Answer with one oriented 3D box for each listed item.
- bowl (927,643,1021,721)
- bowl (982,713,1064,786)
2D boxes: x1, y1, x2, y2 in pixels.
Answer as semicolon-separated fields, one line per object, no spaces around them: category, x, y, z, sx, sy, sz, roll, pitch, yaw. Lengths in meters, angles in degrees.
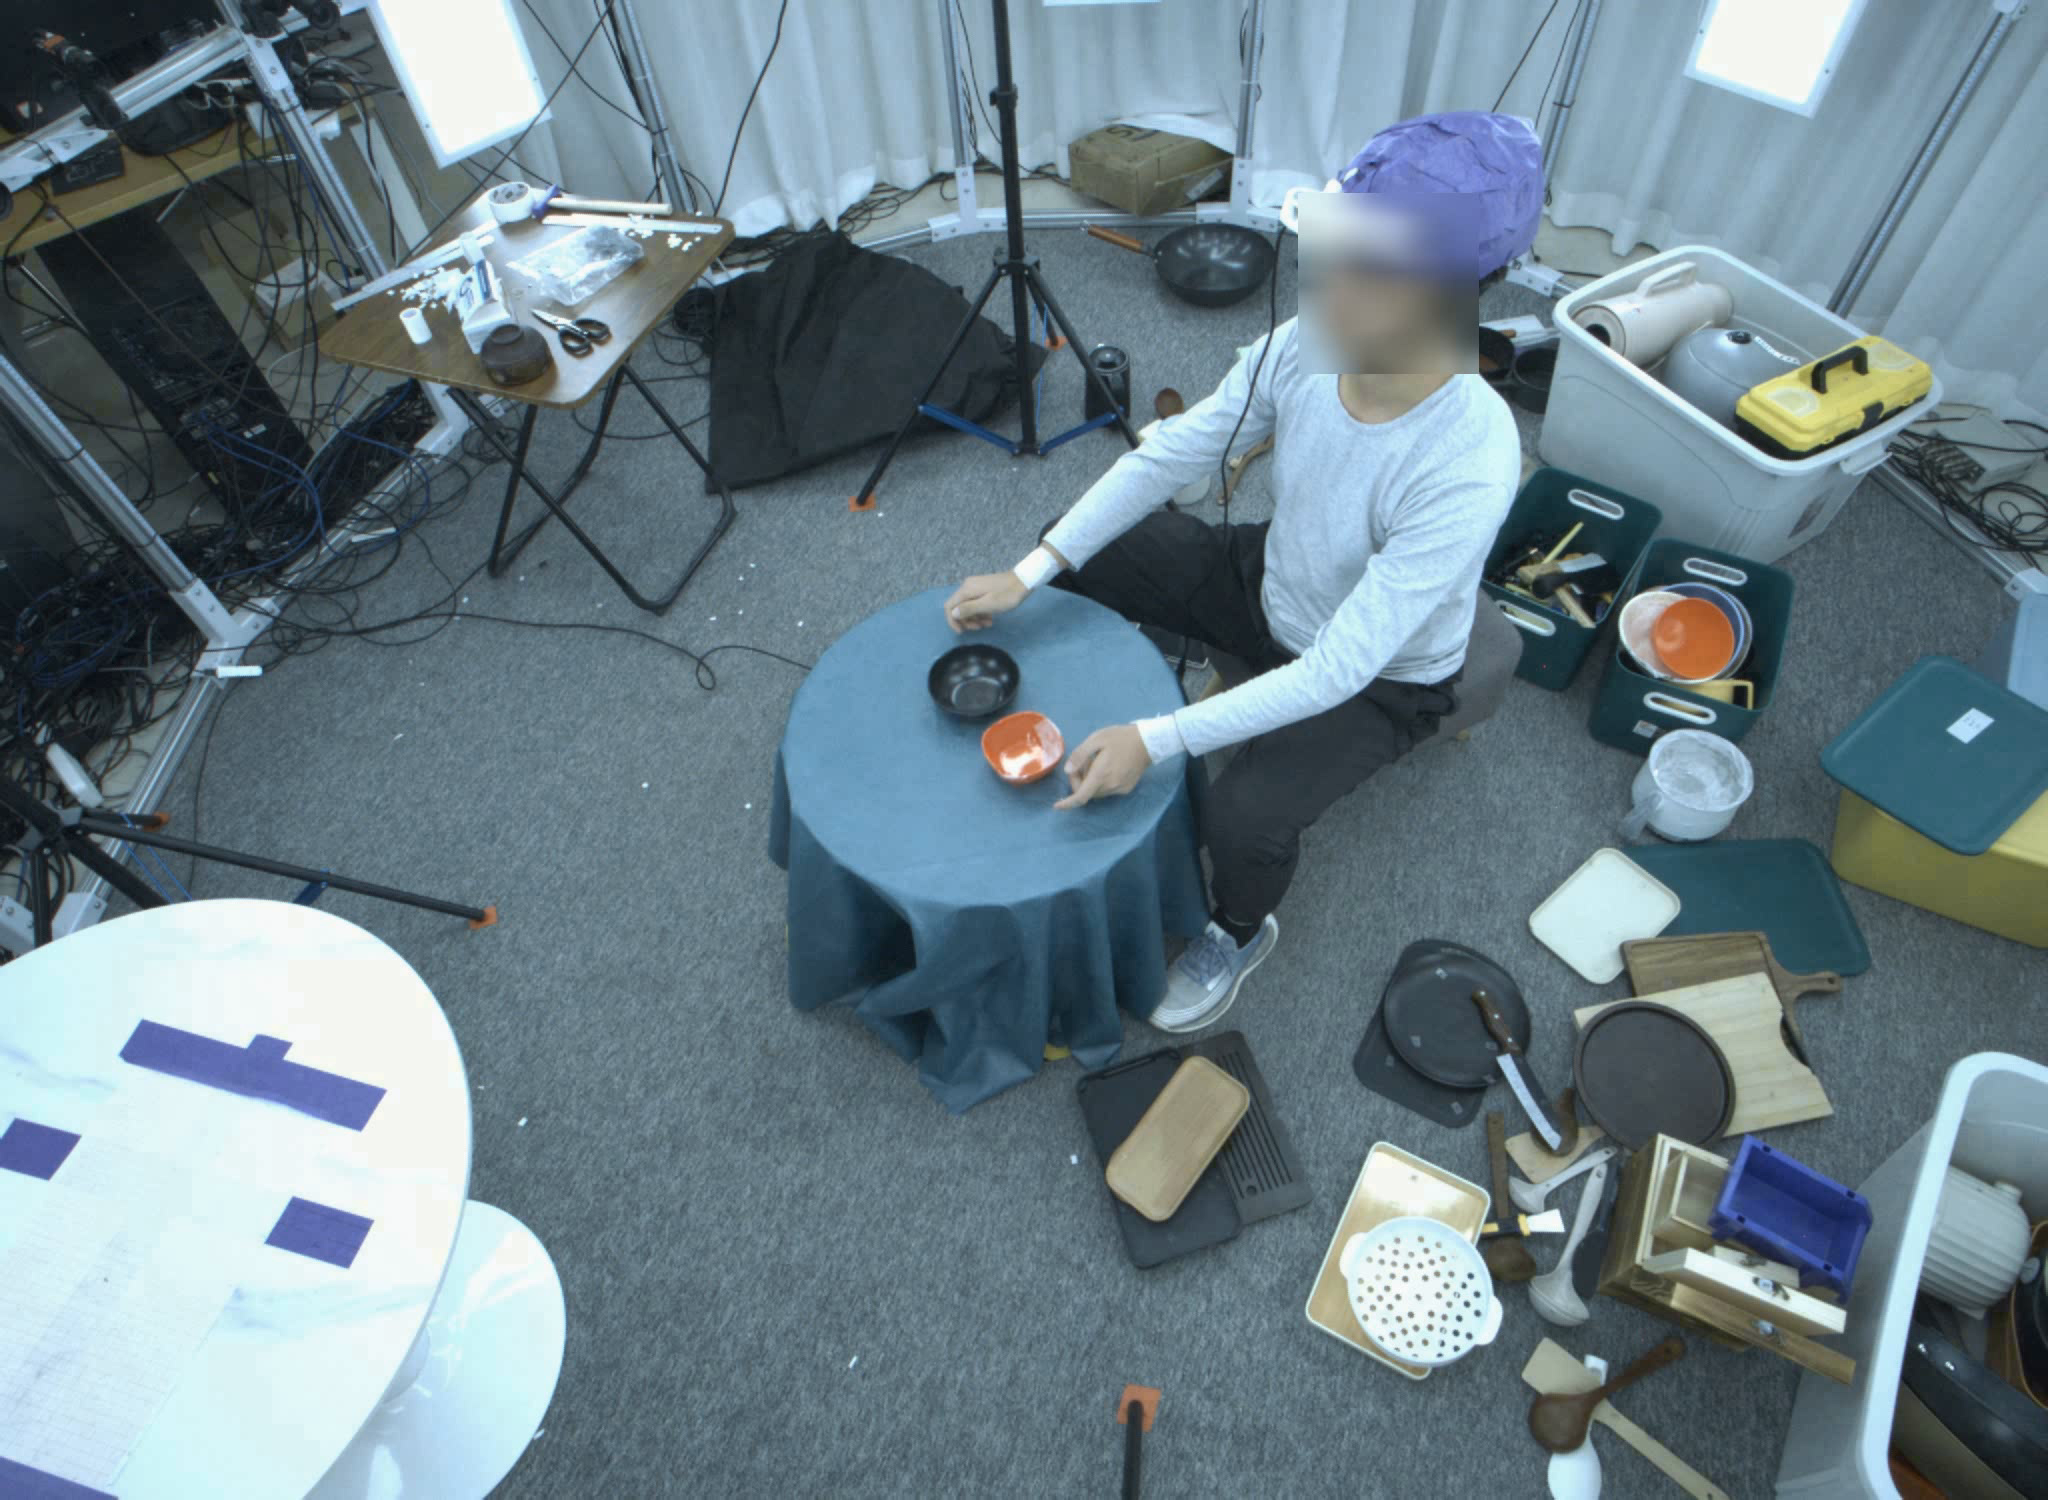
bowl;-0.074;-0.092;1.834;0.140;0.050;0.138;1;53;0
bowl;0.000;0.007;1.758;0.119;0.052;0.117;-1;53;2
